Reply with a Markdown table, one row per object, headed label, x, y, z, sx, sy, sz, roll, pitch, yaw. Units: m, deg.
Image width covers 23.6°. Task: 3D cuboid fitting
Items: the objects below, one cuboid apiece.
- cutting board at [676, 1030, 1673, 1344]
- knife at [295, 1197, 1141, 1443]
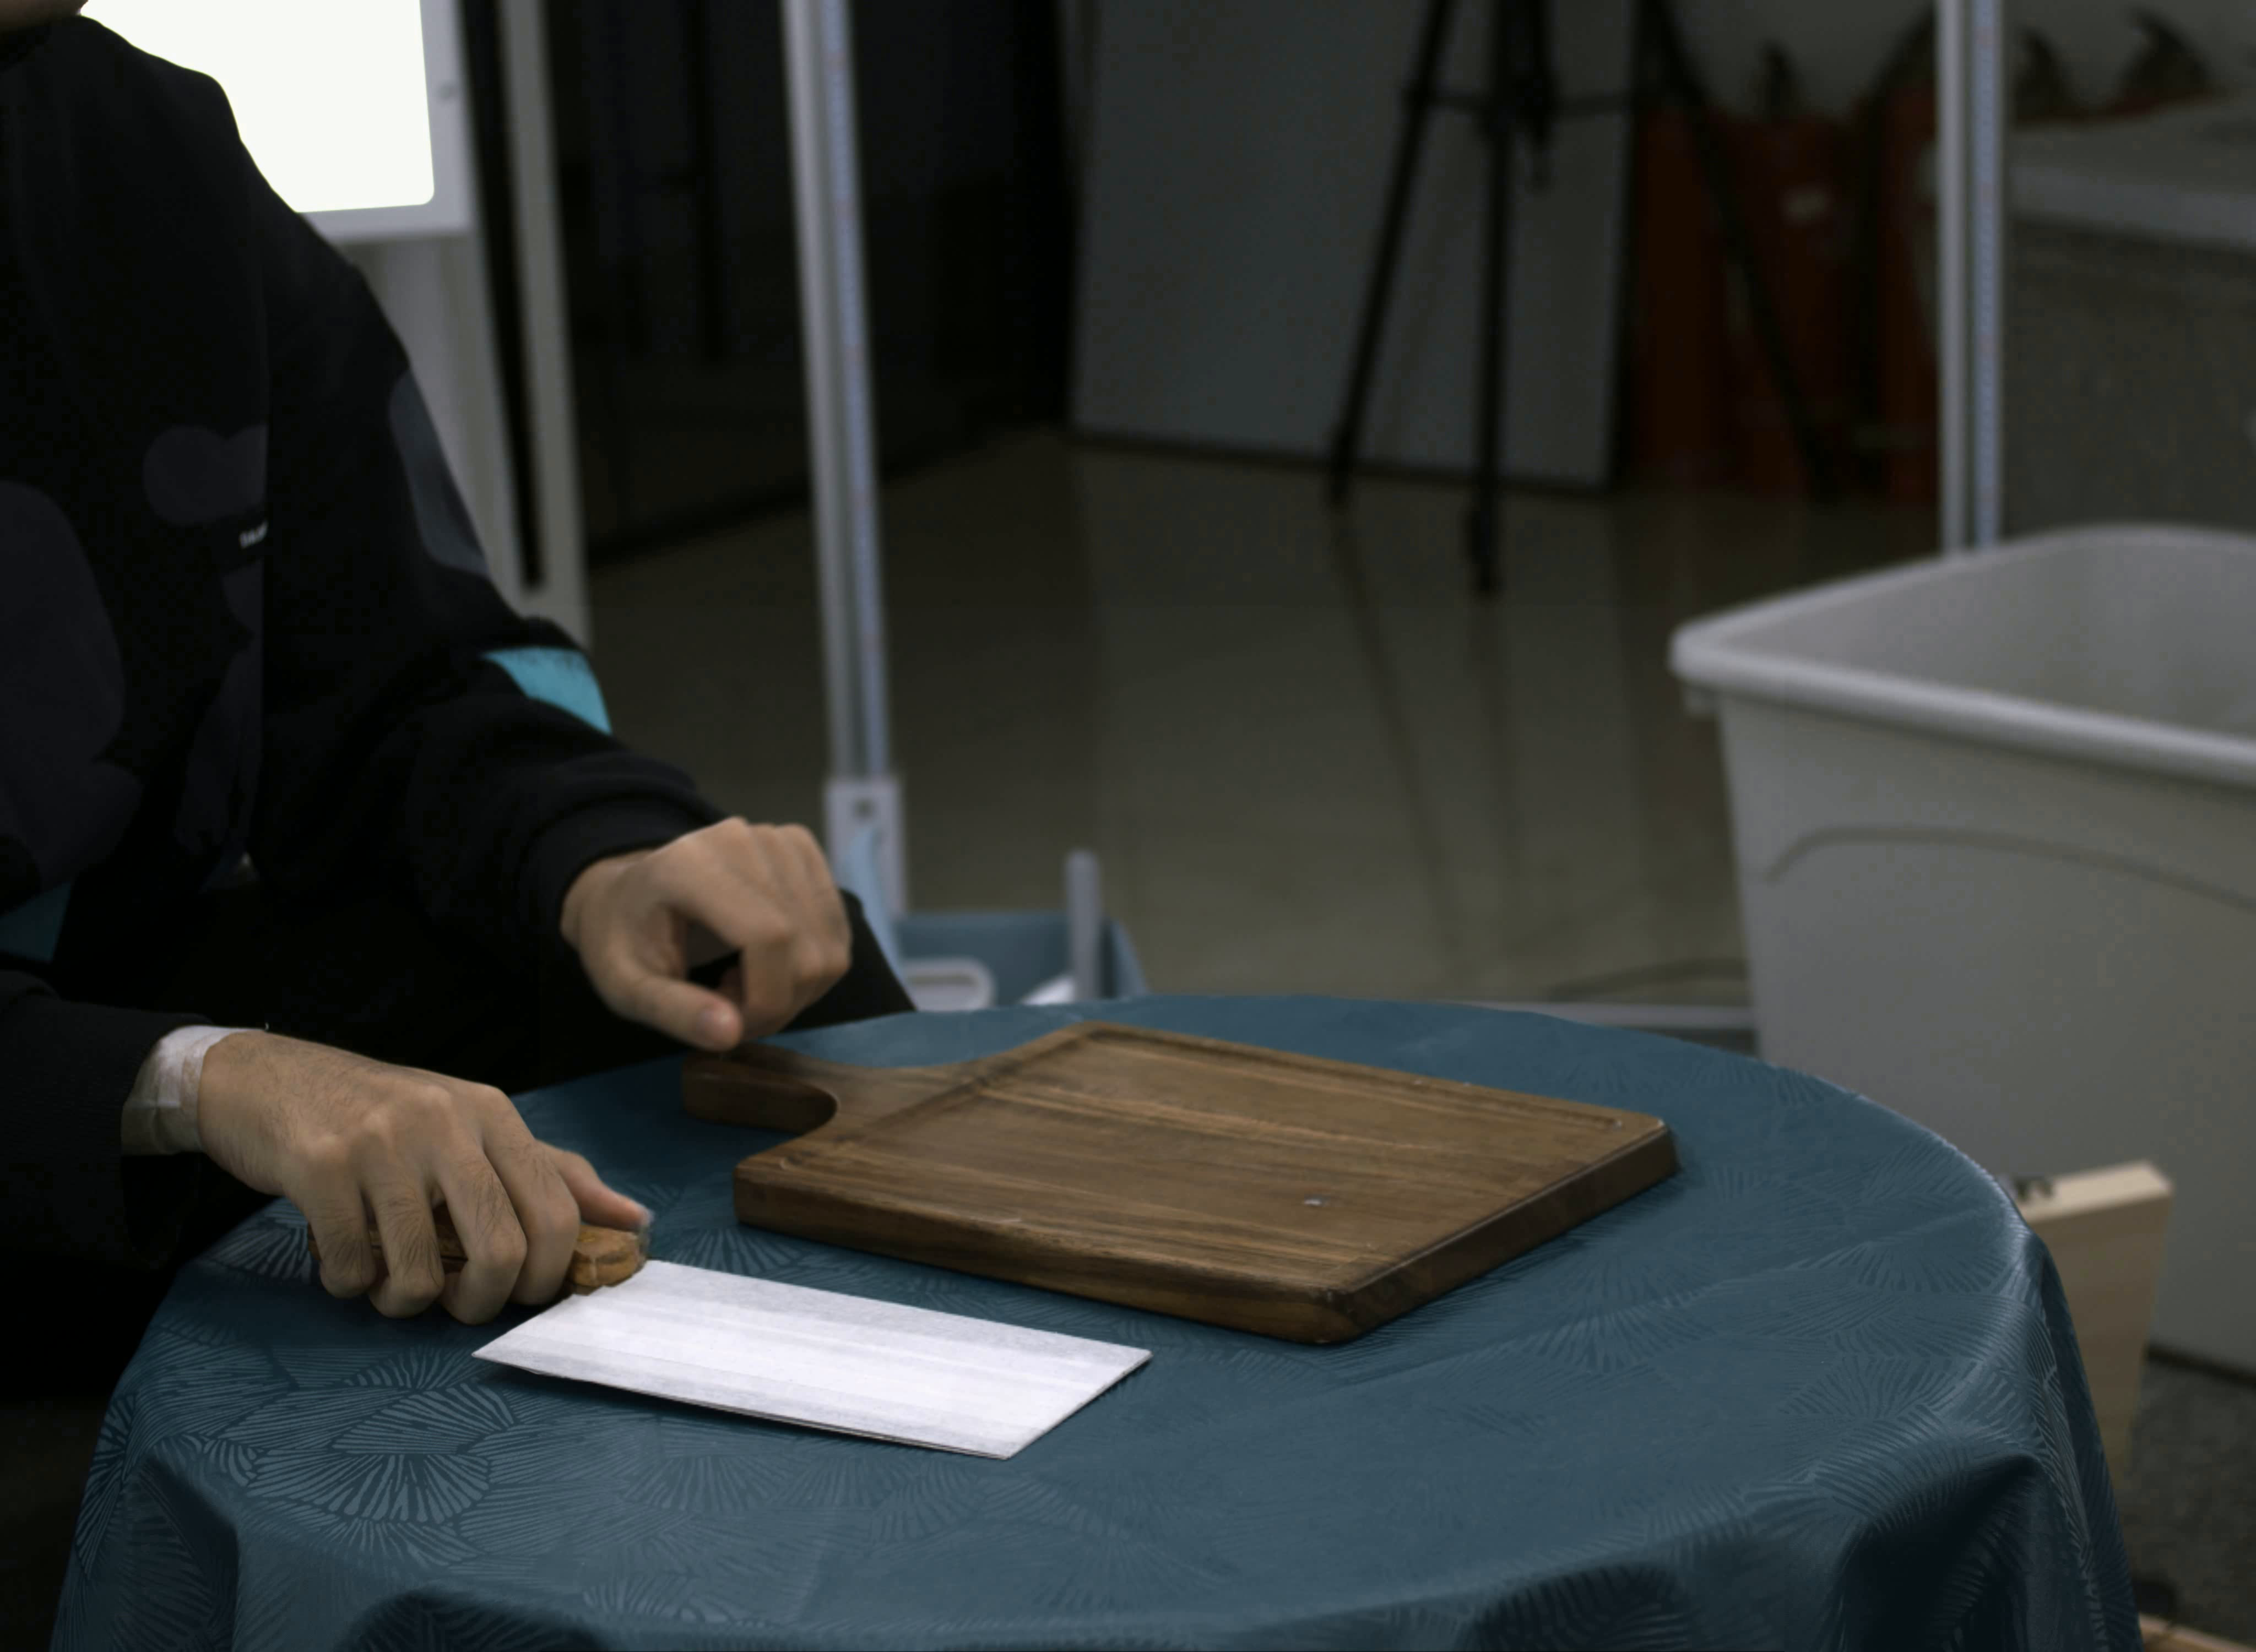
| label | x | y | z | sx | sy | sz | roll | pitch | yaw |
| --- | --- | --- | --- | --- | --- | --- | --- | --- | --- |
| cutting board | -0.013 | 0.108 | 1.784 | 0.355 | 0.023 | 0.197 | 7 | 18 | 39 |
| knife | -0.143 | 0.153 | 1.651 | 0.307 | 0.021 | 0.091 | 7 | 19 | 30 |
